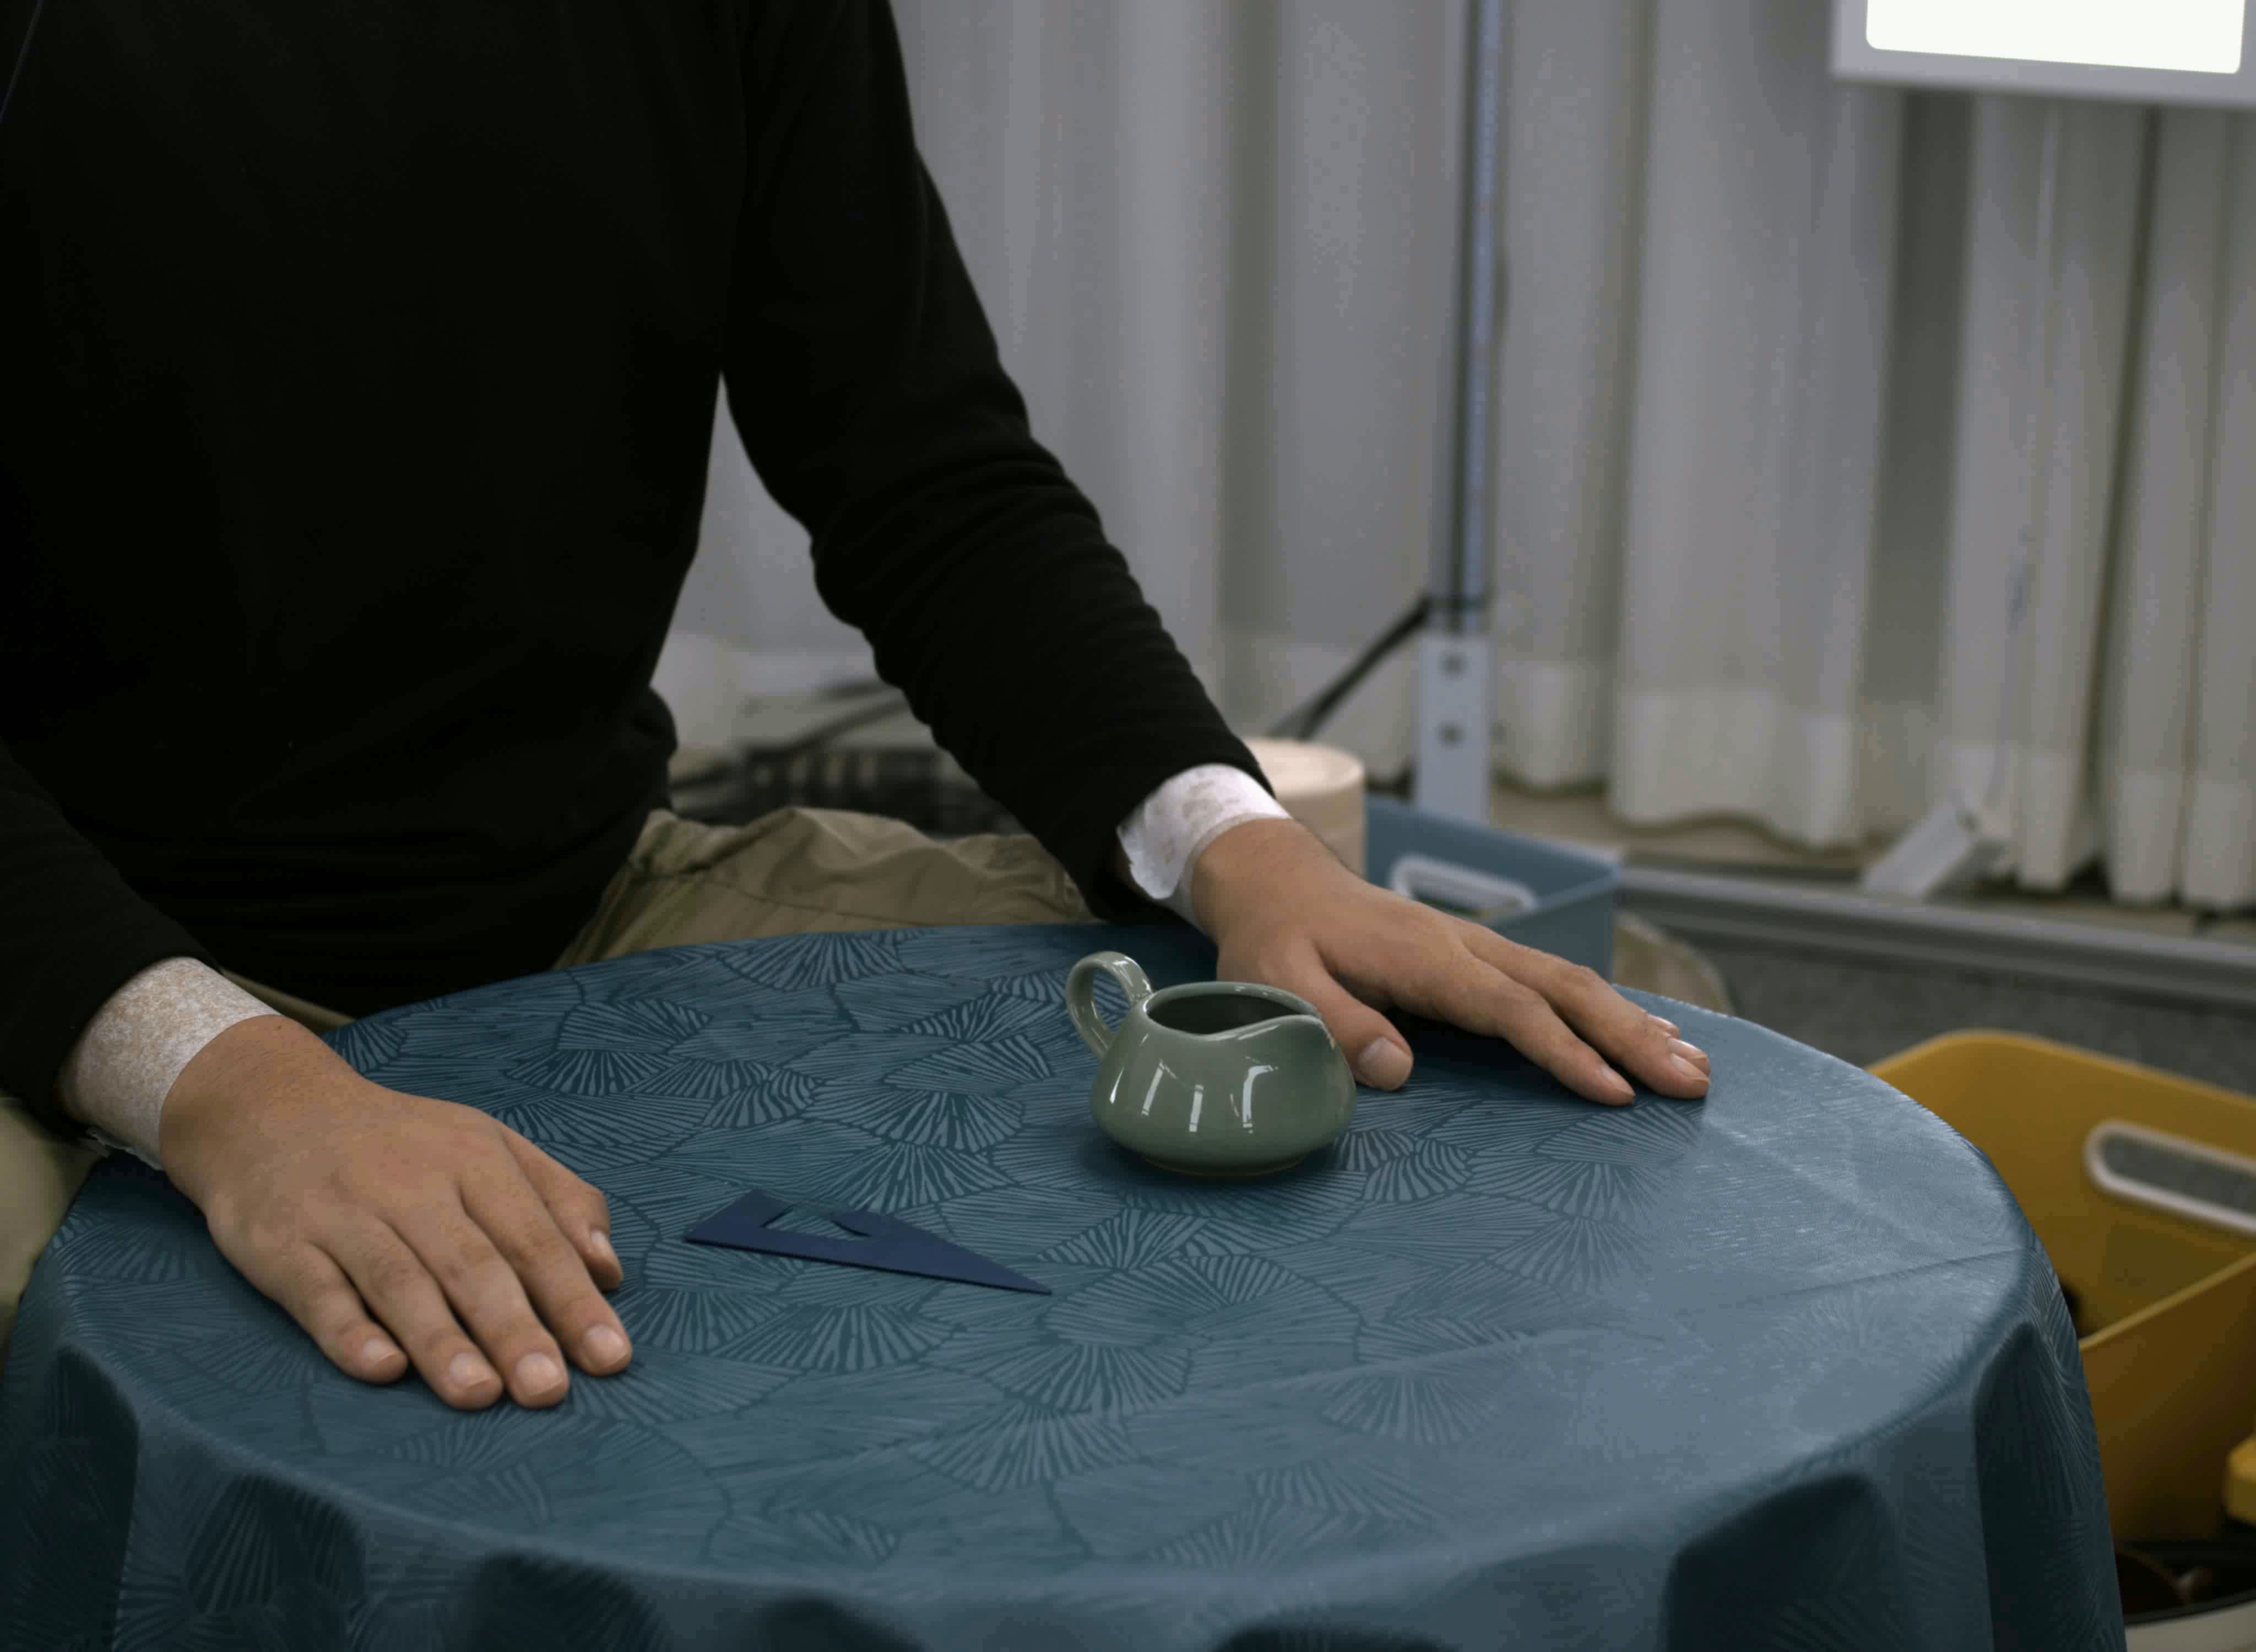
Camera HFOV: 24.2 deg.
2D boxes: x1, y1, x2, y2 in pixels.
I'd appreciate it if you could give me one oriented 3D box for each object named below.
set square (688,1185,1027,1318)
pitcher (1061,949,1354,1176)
[{"bbox_3d":[-0.086,0.128,1.555,0.061,0.006,0.130,-9,18,-34],"label":"set square"},{"bbox_3d":[0.024,0.074,1.654,0.111,0.056,0.084,13,18,38],"label":"pitcher"}]
